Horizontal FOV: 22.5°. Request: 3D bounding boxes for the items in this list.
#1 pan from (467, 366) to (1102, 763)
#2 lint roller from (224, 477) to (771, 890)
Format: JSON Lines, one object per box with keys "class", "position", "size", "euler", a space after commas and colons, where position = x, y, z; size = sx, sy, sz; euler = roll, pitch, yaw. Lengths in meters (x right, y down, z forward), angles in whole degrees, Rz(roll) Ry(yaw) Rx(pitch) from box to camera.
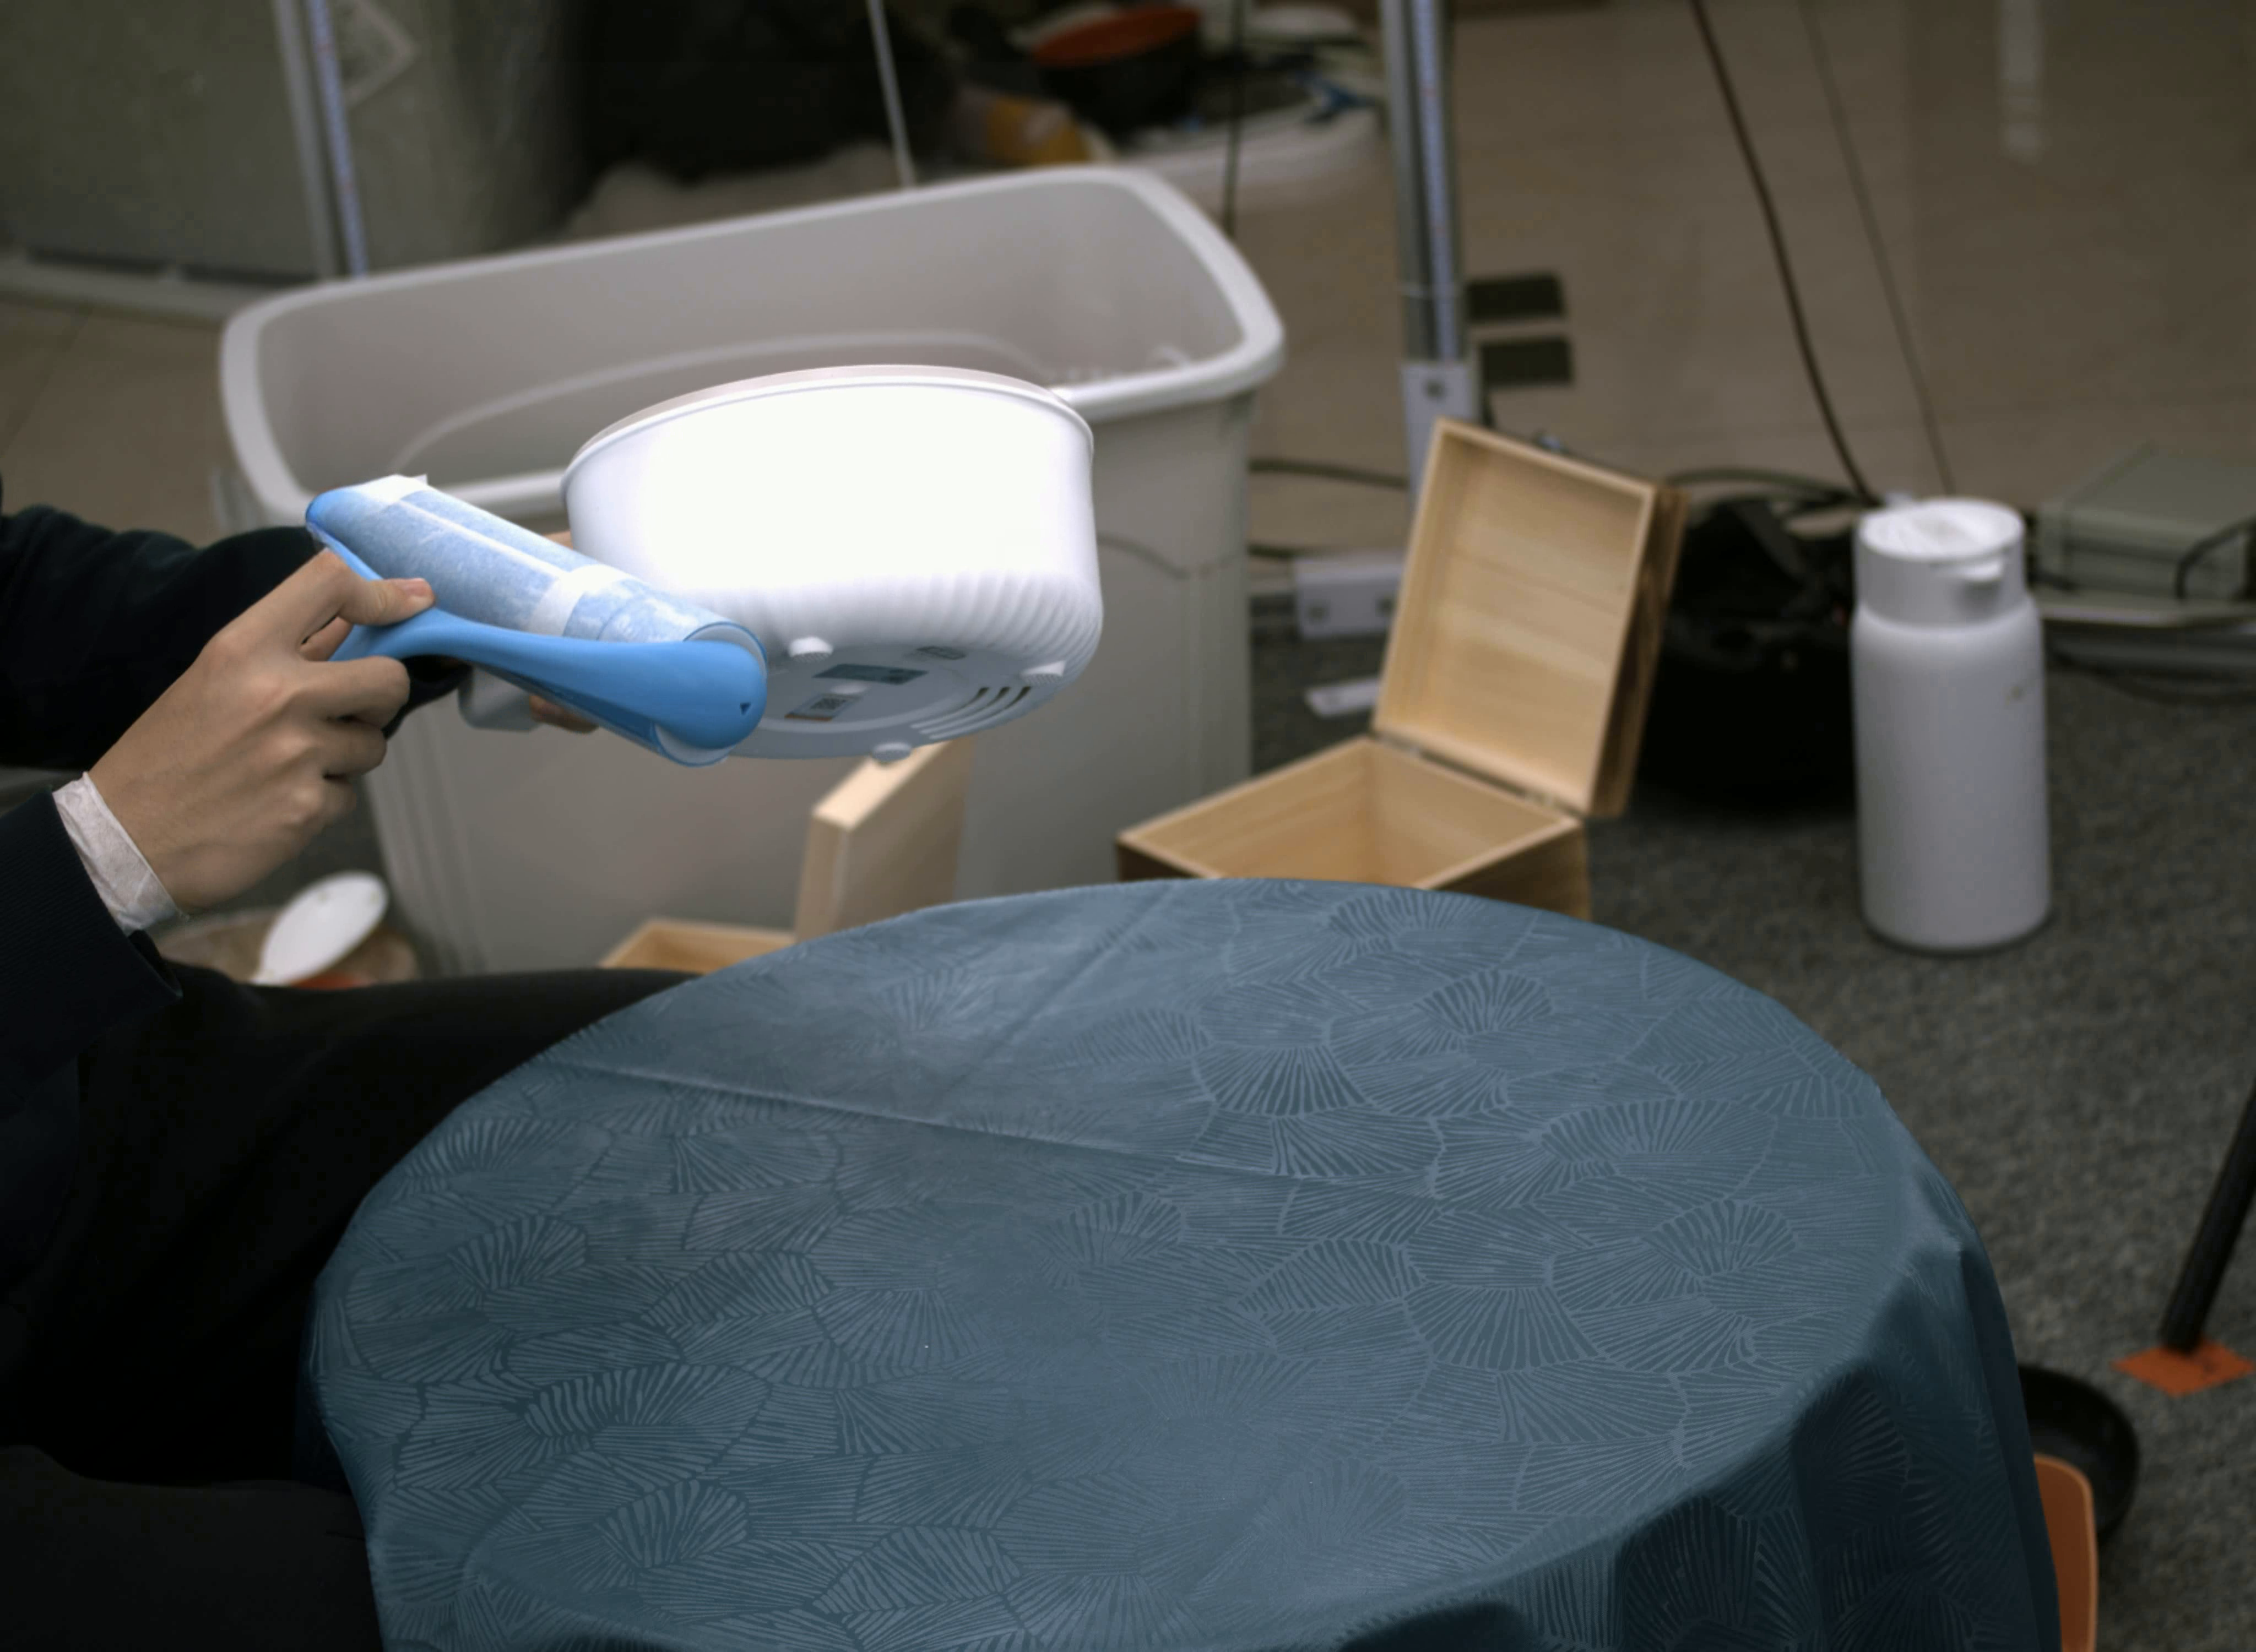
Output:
{"class": "pan", "position": [-0.152, -0.069, 2.169], "size": [0.201, 0.101, 0.357], "euler": [3, -18, -35]}
{"class": "lint roller", "position": [-0.251, -0.048, 2.007], "size": [0.227, 0.069, 0.178], "euler": [24, 47, 38]}
